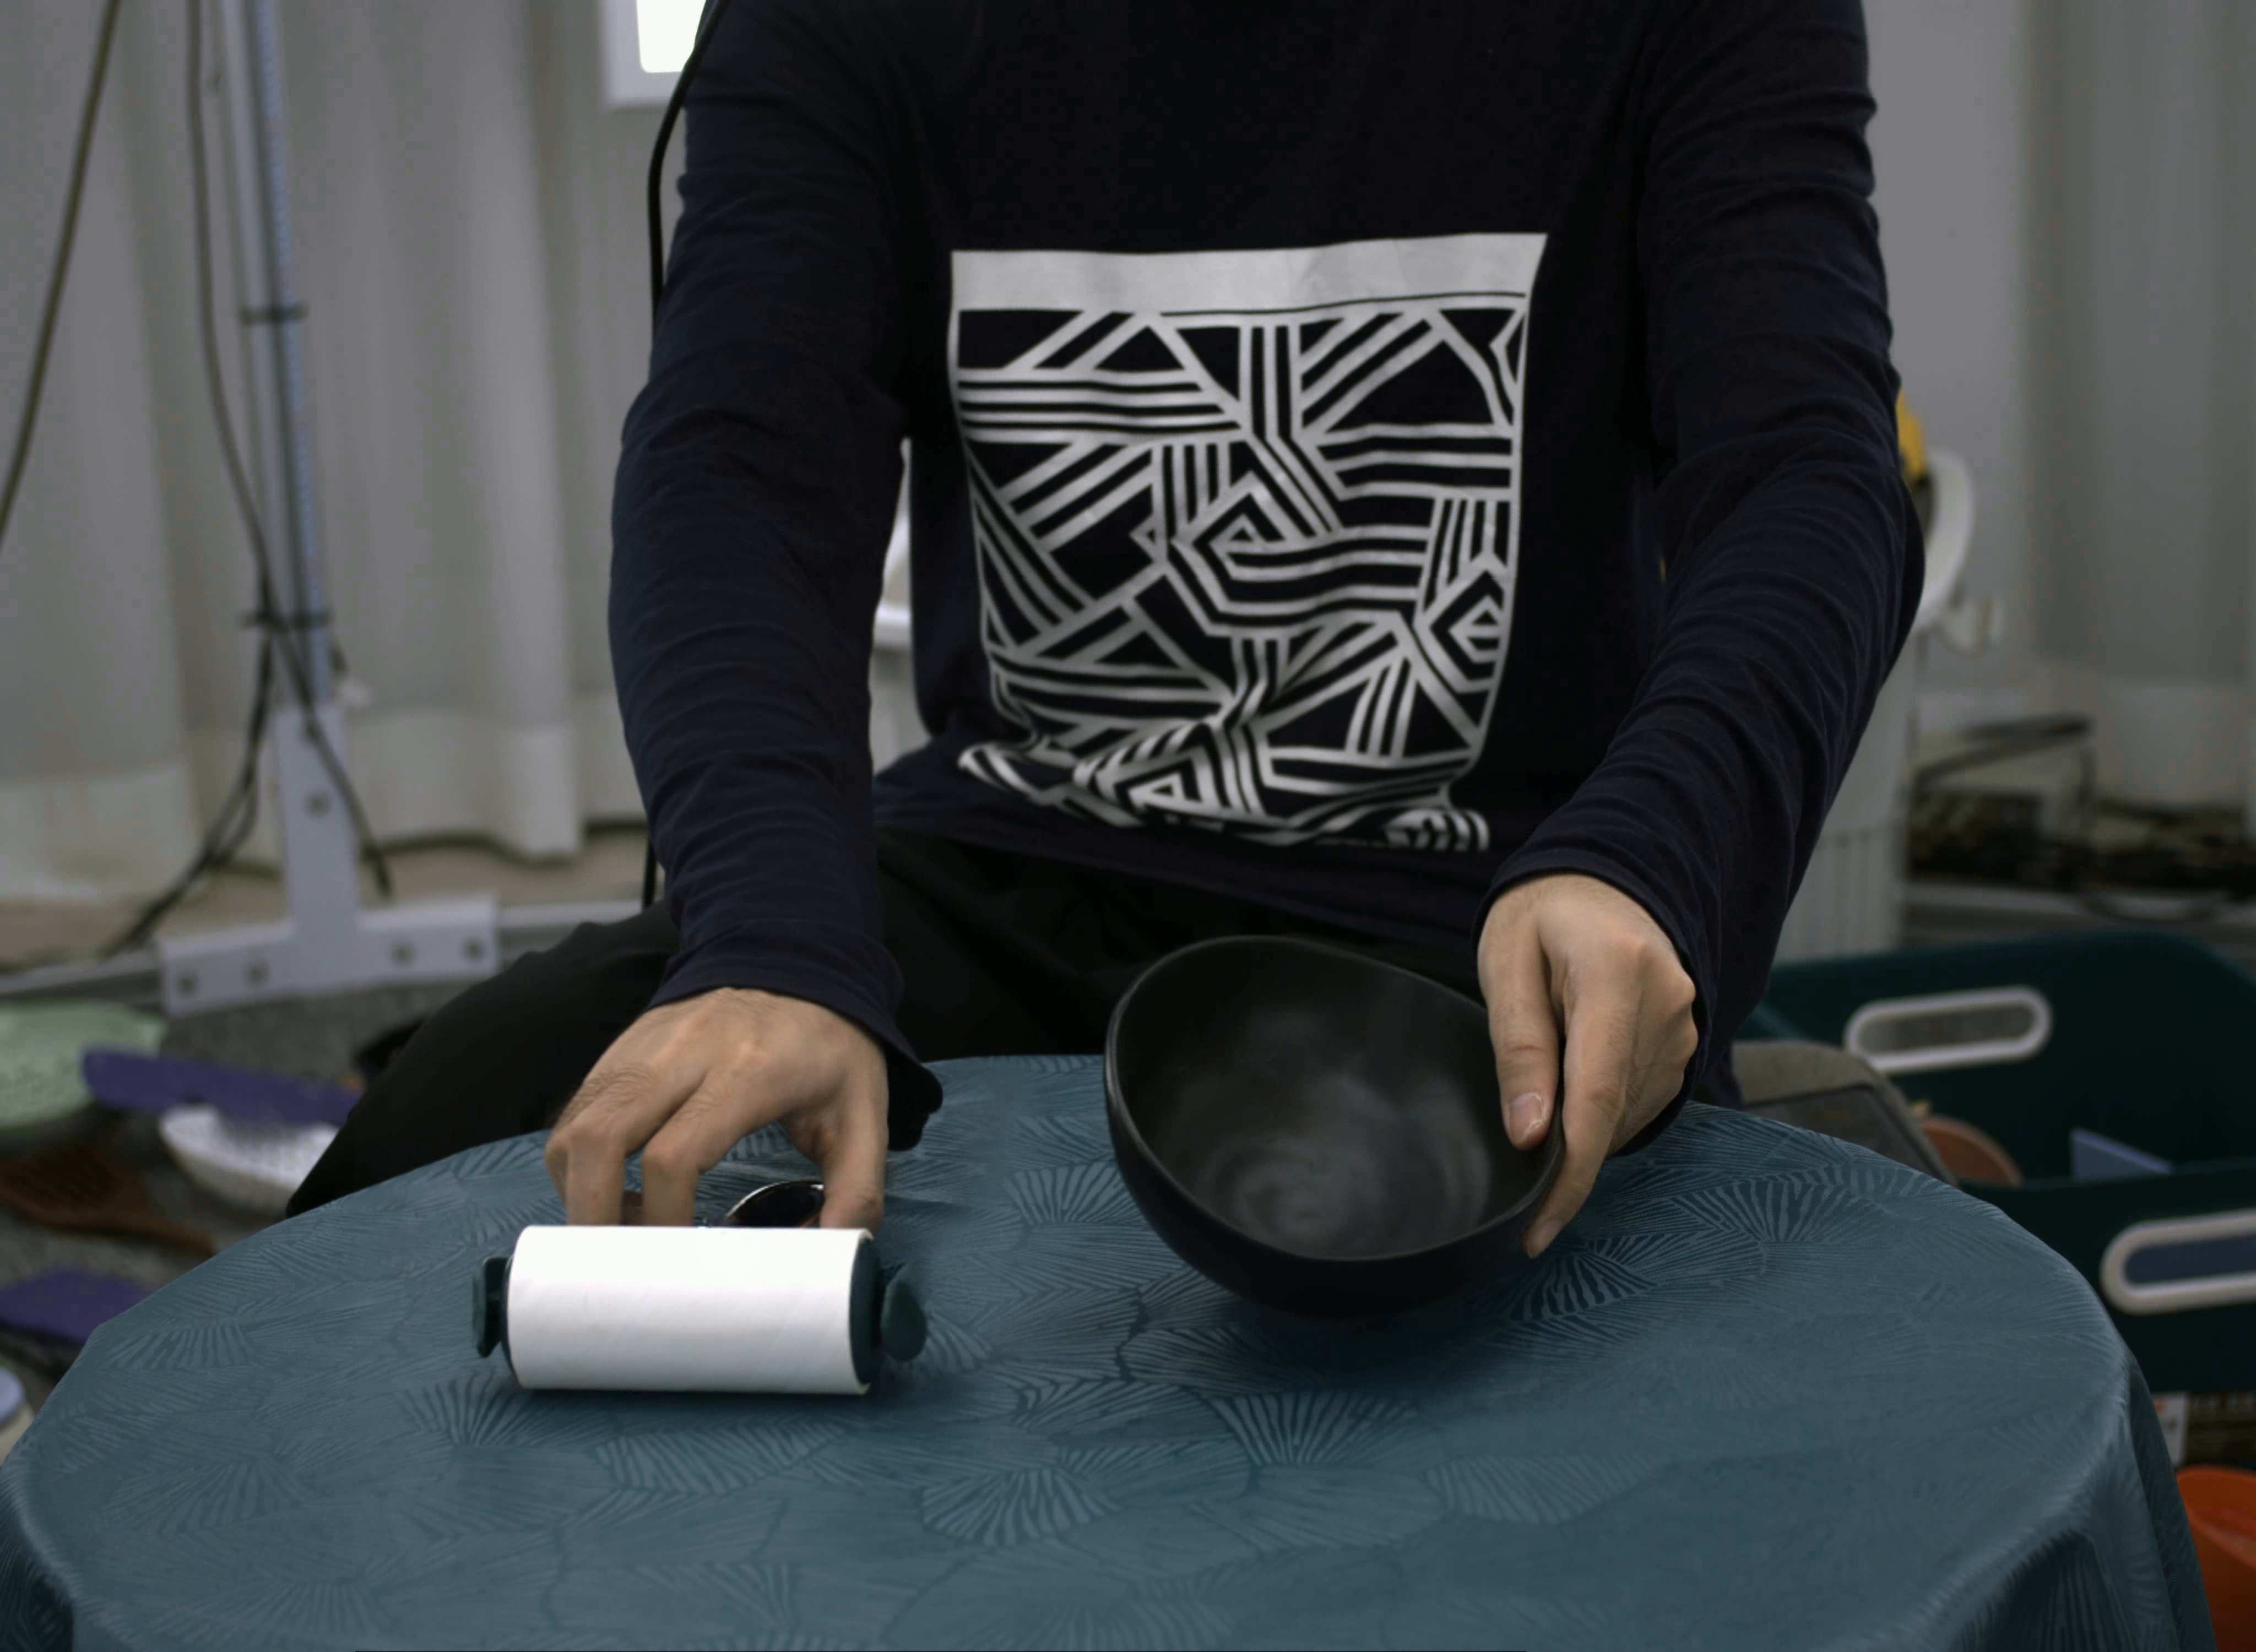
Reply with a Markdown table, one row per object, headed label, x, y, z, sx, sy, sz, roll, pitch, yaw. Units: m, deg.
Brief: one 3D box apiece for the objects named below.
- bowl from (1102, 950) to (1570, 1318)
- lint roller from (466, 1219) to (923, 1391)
| label | x | y | z | sx | sy | sz | roll | pitch | yaw |
| --- | --- | --- | --- | --- | --- | --- | --- | --- | --- |
| bowl | 0.055 | 0.098 | 1.600 | 0.137 | 0.066 | 0.171 | 20 | 30 | 8 |
| lint roller | -0.114 | 0.124 | 1.626 | 0.134 | 0.048 | 0.181 | 0 | 12 | 9 |
